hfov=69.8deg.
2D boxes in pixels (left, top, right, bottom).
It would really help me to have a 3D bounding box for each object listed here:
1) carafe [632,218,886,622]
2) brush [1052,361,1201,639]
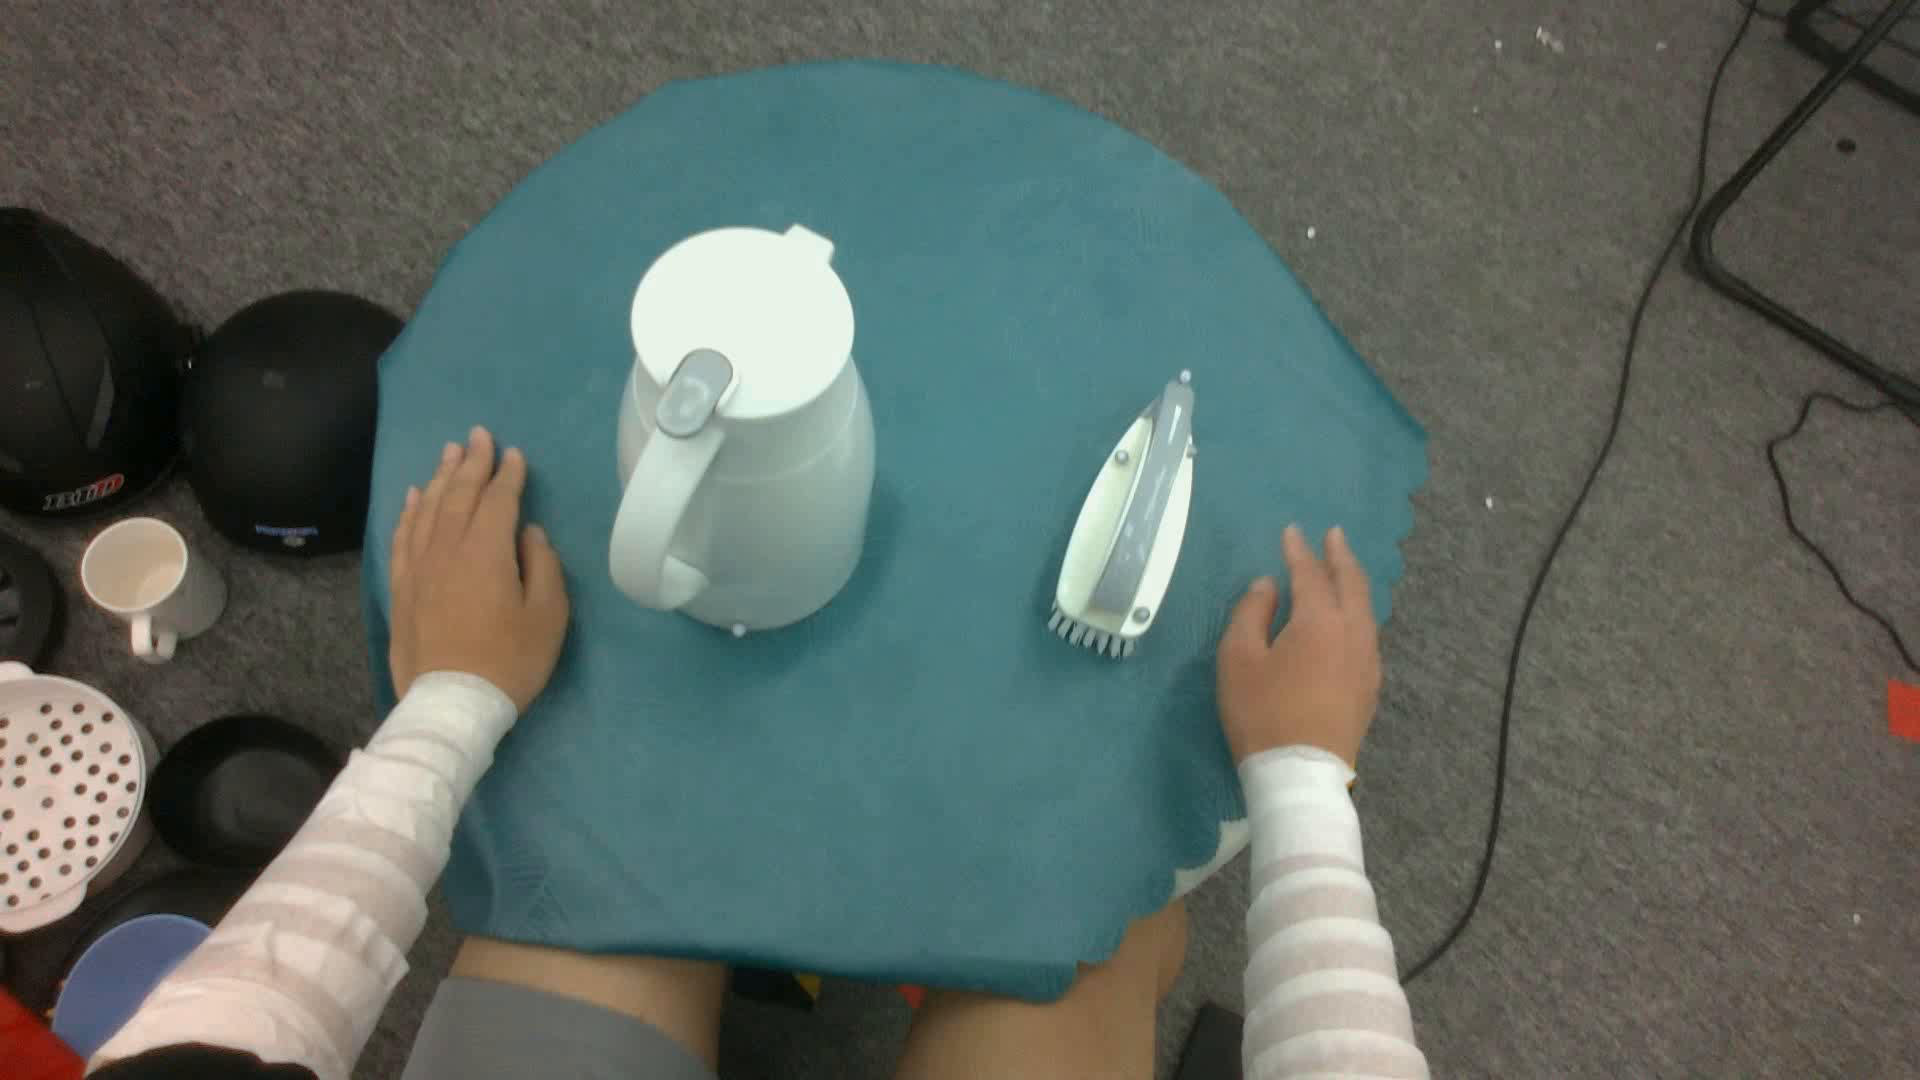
[{"bbox_3d":[-0.107,-0.040,0.684,0.132,0.247,0.168,25,70,2],"label":"carafe"},{"bbox_3d":[0.109,-0.037,0.795,0.061,0.094,0.176,21,67,-2],"label":"brush"}]
